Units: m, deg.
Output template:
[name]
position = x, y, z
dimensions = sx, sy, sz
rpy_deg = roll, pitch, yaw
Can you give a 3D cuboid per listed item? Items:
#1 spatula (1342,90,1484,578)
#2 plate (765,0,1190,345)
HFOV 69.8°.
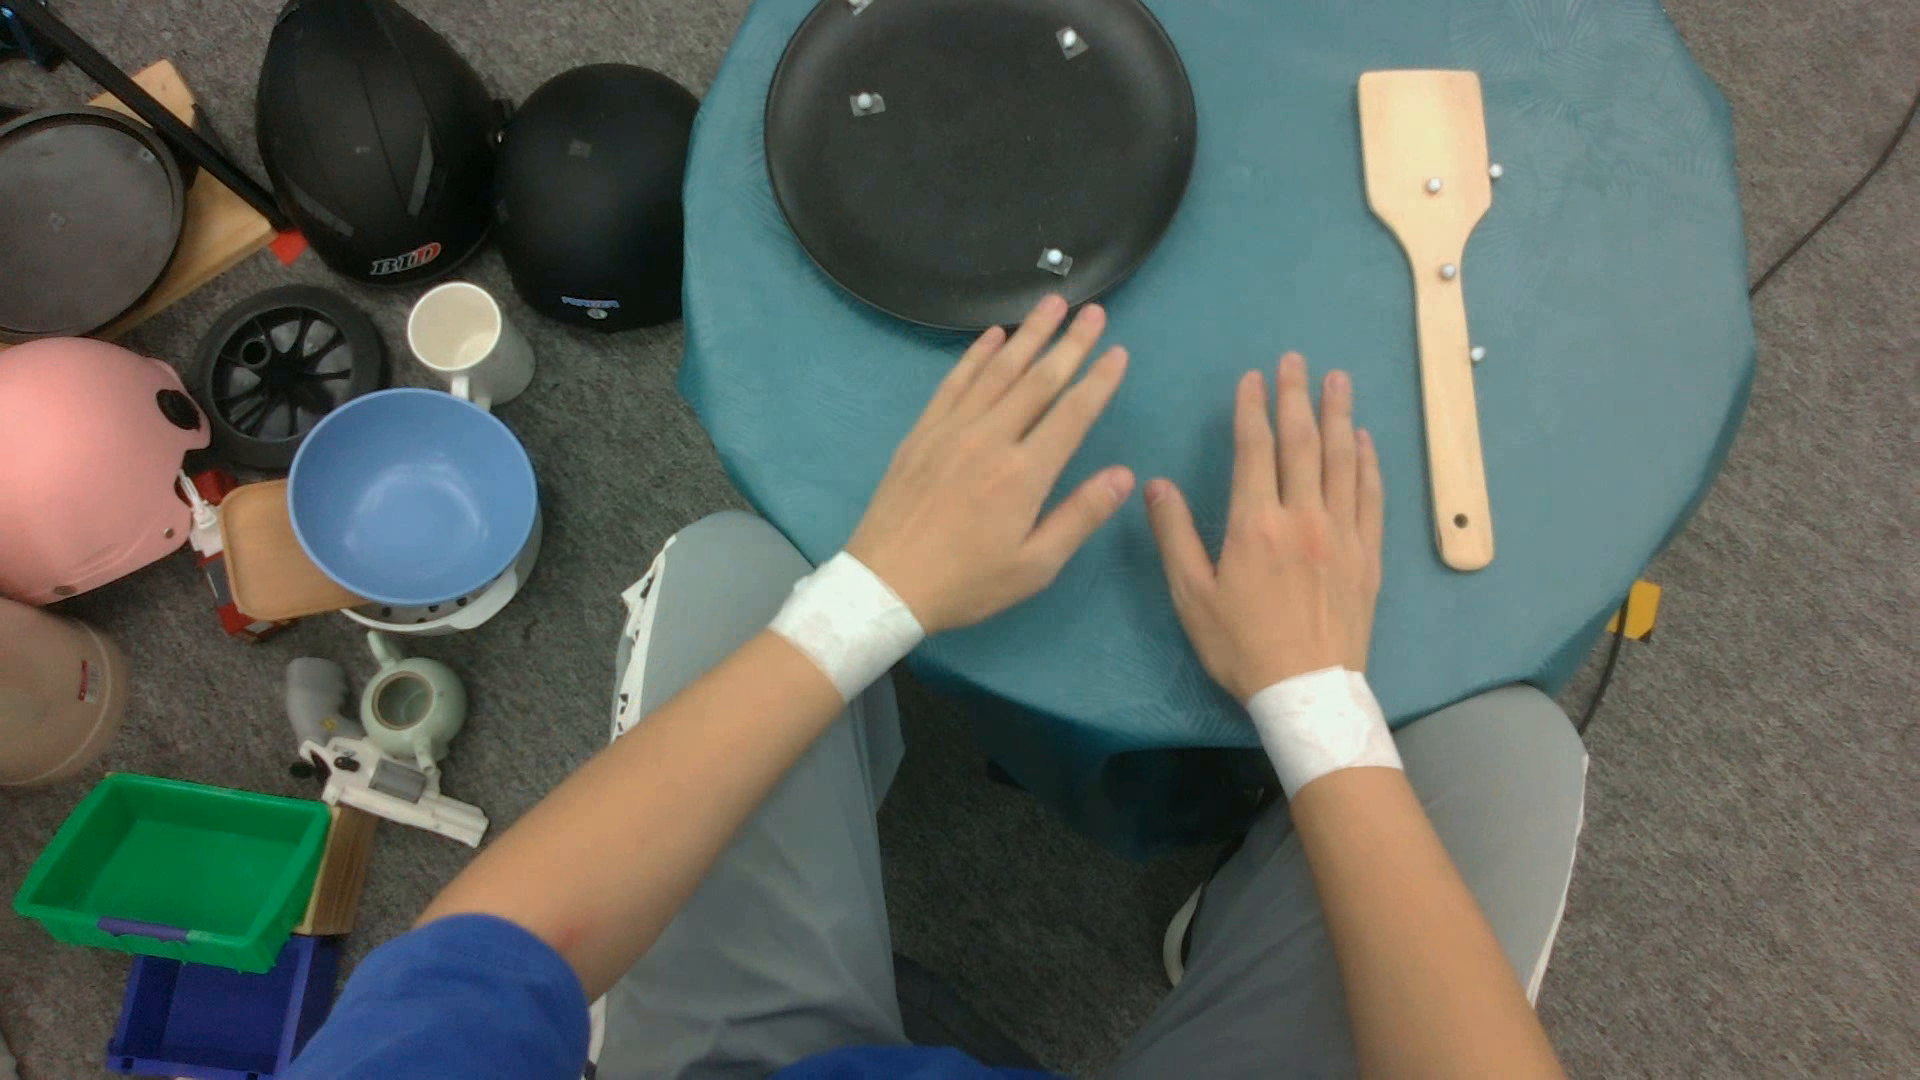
[spatula]
position = 0.264, -0.121, 0.771
dimensions = 0.072, 0.010, 0.293
rpy_deg = -2, 75, -1
[plate]
position = 0.010, -0.224, 0.796
dimensions = 0.244, 0.023, 0.245
rpy_deg = 0, 75, 1
